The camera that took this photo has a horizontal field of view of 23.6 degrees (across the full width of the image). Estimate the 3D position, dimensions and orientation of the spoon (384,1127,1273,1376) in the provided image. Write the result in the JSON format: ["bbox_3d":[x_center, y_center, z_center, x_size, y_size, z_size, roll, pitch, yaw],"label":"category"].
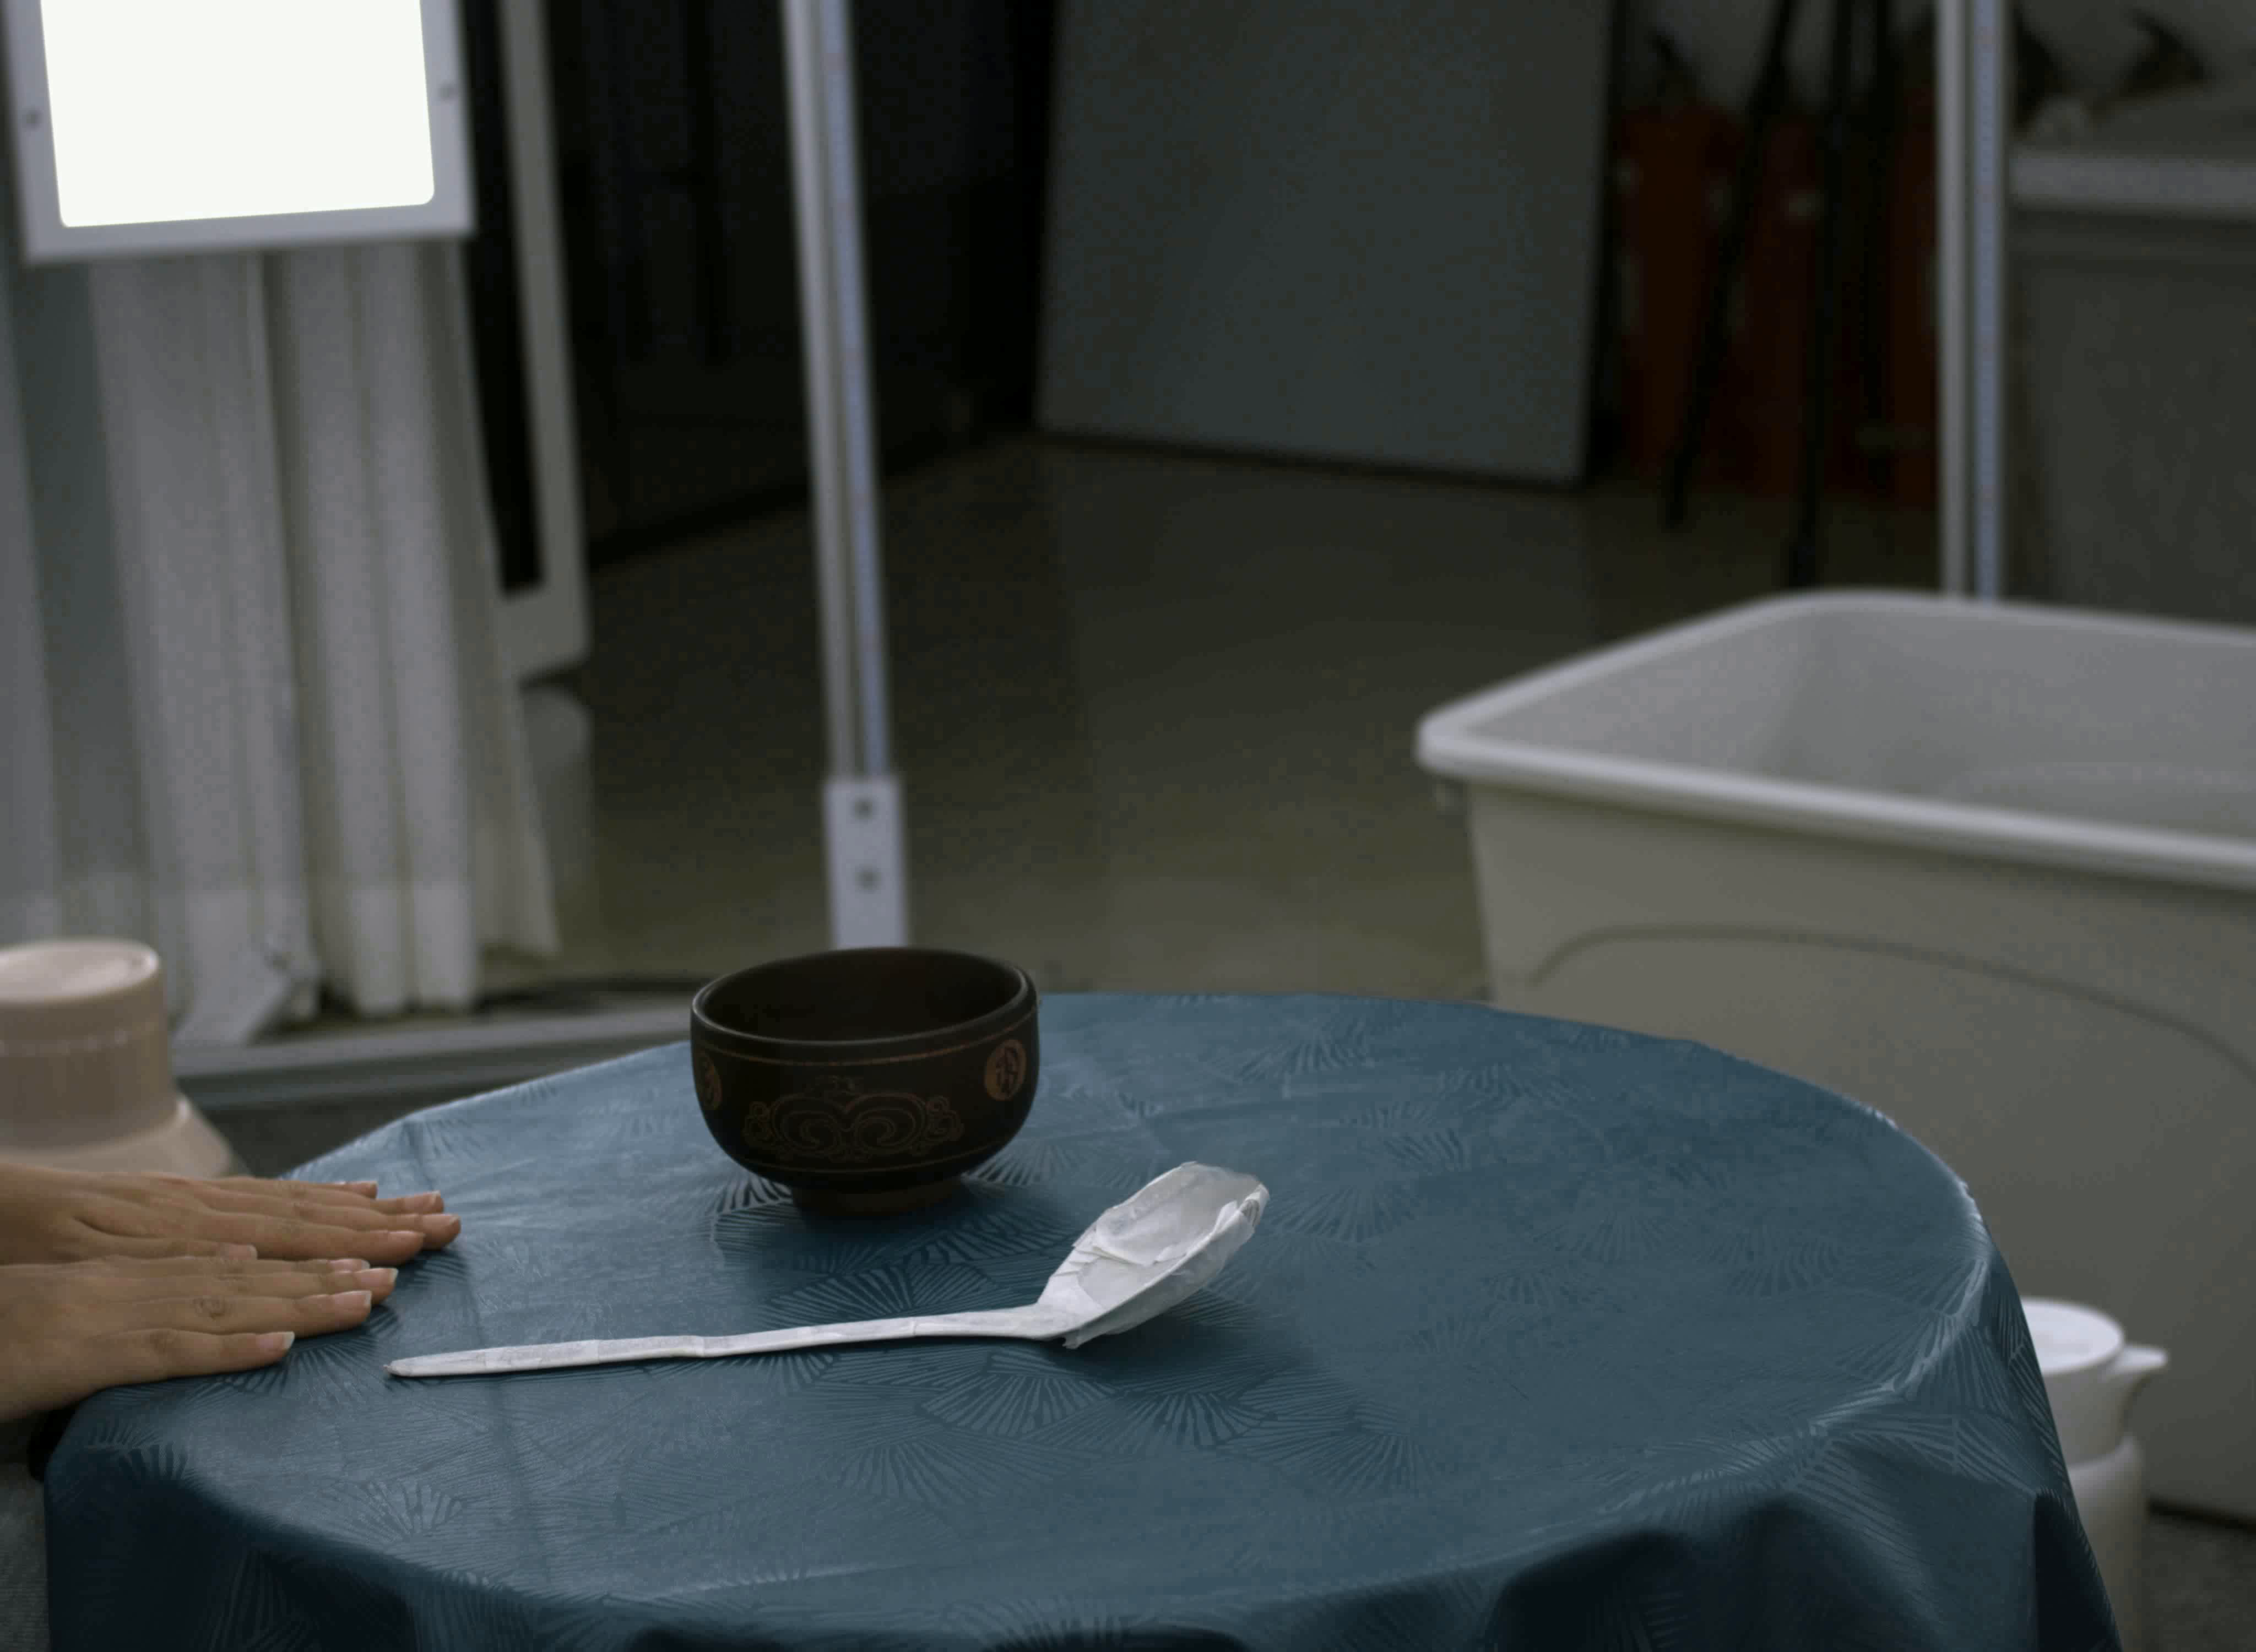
[{"bbox_3d":[-0.091,0.129,1.644,0.274,0.060,0.100,-3,10,3],"label":"spoon"}]

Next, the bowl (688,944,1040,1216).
[{"bbox_3d":[-0.086,0.087,1.781,0.116,0.070,0.118,-4,13,0],"label":"bowl"}]
